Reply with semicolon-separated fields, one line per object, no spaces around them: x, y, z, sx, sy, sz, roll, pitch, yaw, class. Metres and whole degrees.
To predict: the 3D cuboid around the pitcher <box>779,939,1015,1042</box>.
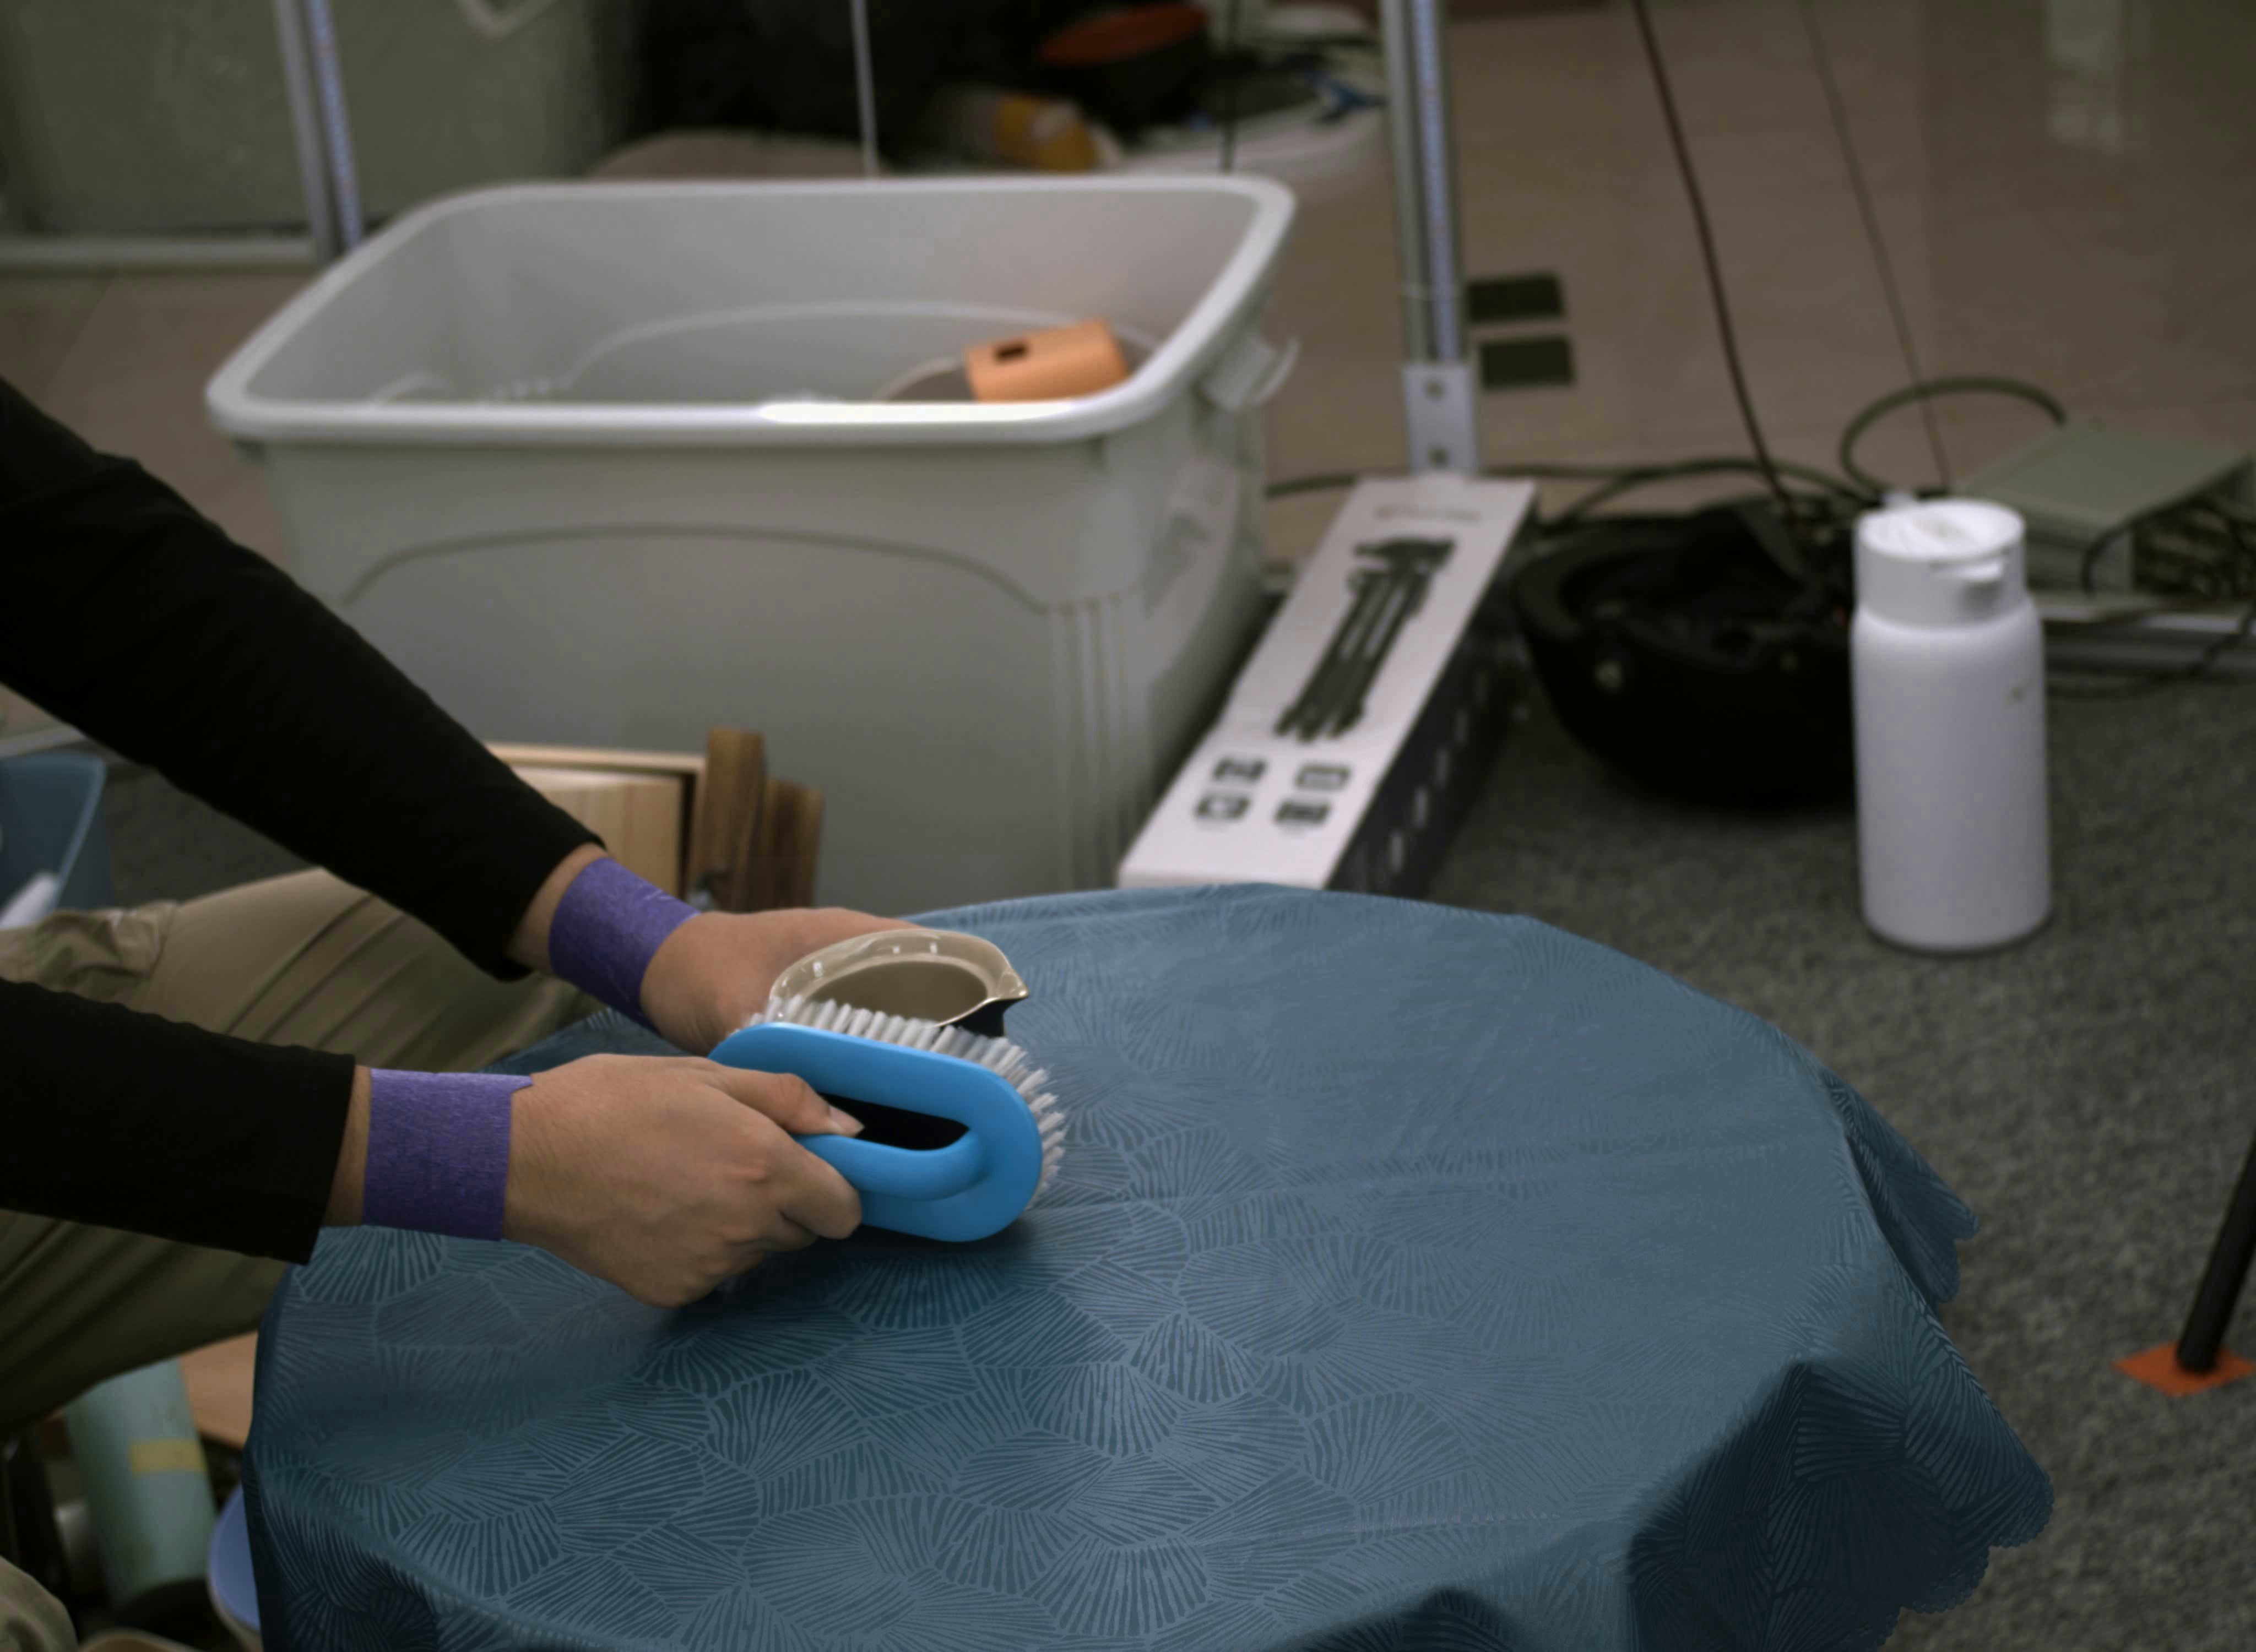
-0.086;0.089;2.185;0.095;0.072;0.082;5;26;21;pitcher

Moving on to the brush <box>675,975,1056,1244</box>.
-0.102;0.112;2.106;0.141;0.085;0.063;13;25;12;brush
